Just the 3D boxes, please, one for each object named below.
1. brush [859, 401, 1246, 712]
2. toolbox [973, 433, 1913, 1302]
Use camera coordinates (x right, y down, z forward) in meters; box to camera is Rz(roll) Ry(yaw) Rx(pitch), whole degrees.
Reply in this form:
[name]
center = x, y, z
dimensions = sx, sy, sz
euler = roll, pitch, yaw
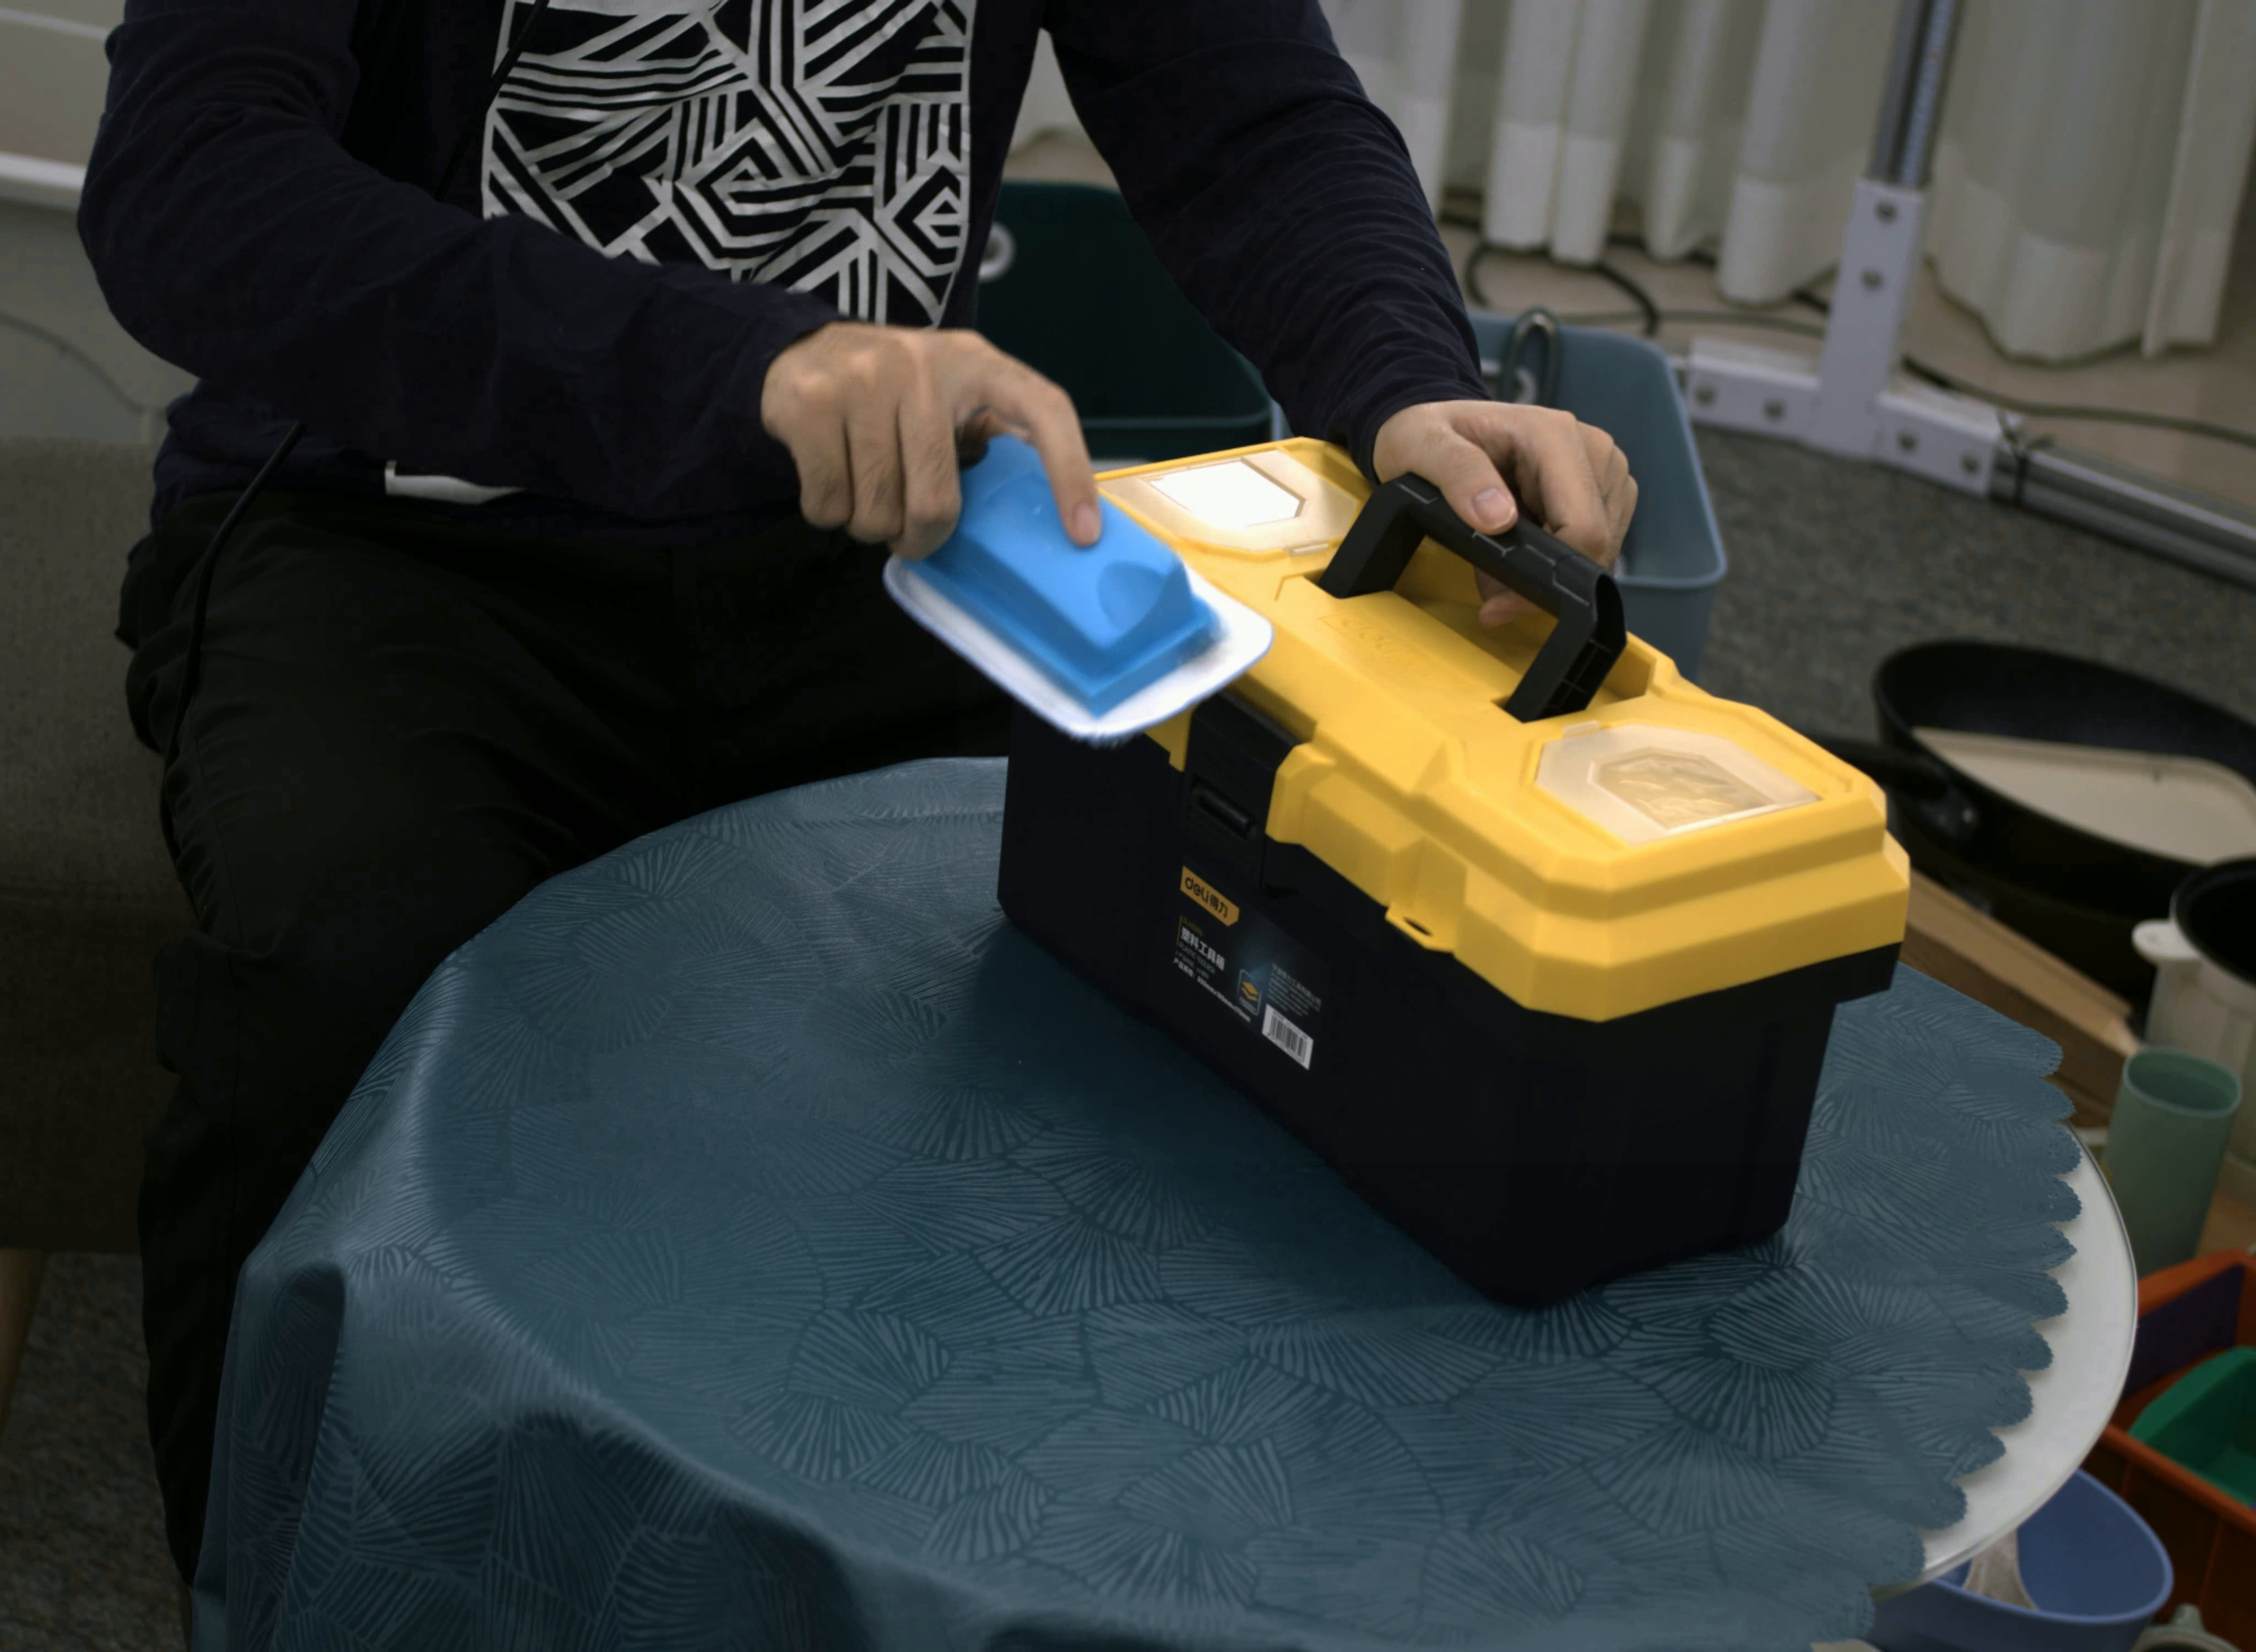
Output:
[brush]
center = -0.027, -0.095, 1.786
dimensions = 0.083, 0.055, 0.145
euler = -28, 44, -21
[toolbox]
center = 0.097, 0.008, 1.862
dimensions = 0.180, 0.172, 0.354
euler = -12, 33, -33
